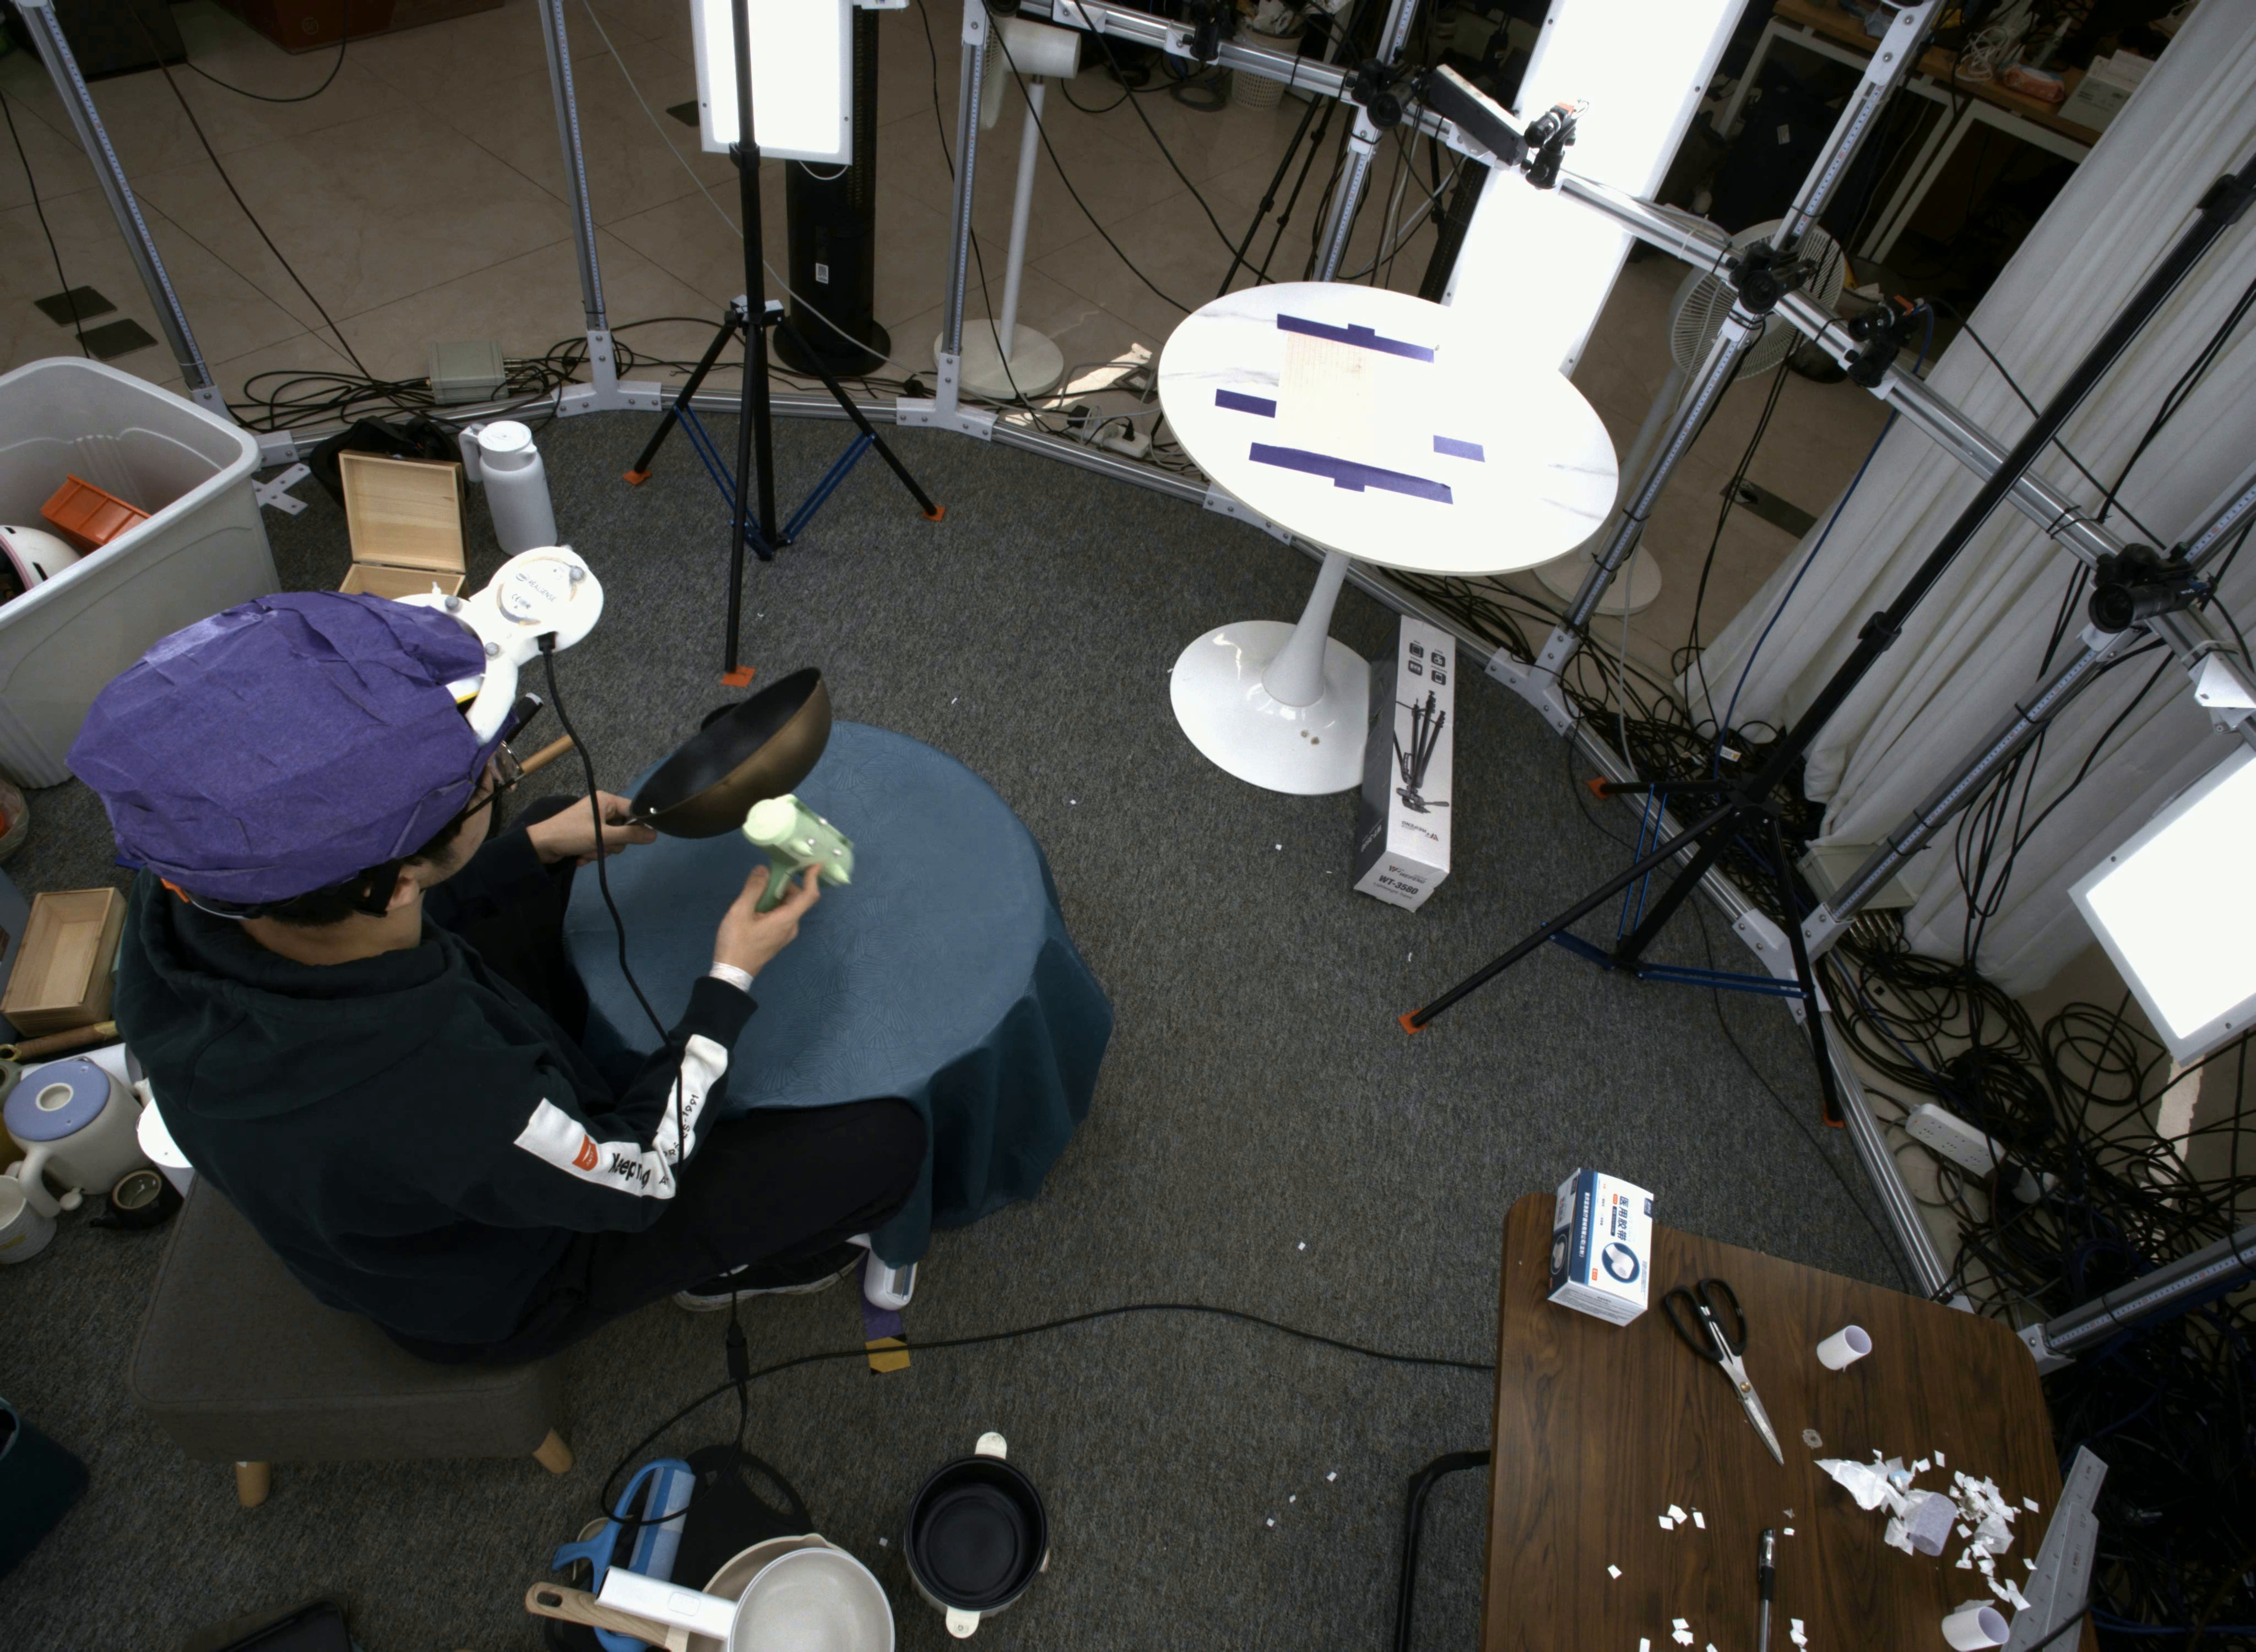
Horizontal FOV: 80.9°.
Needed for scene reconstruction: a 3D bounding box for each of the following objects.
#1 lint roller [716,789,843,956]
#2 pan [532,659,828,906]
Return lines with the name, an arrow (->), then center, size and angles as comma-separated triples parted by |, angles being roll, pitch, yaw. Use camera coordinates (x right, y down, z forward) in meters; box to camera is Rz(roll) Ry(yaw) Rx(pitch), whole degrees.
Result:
lint roller -> -0.393, 0.069, 1.456 | 0.080, 0.202, 0.183 | 20, 77, 12
pan -> -0.526, -0.022, 1.519 | 0.462, 0.089, 0.280 | -37, 22, 0
